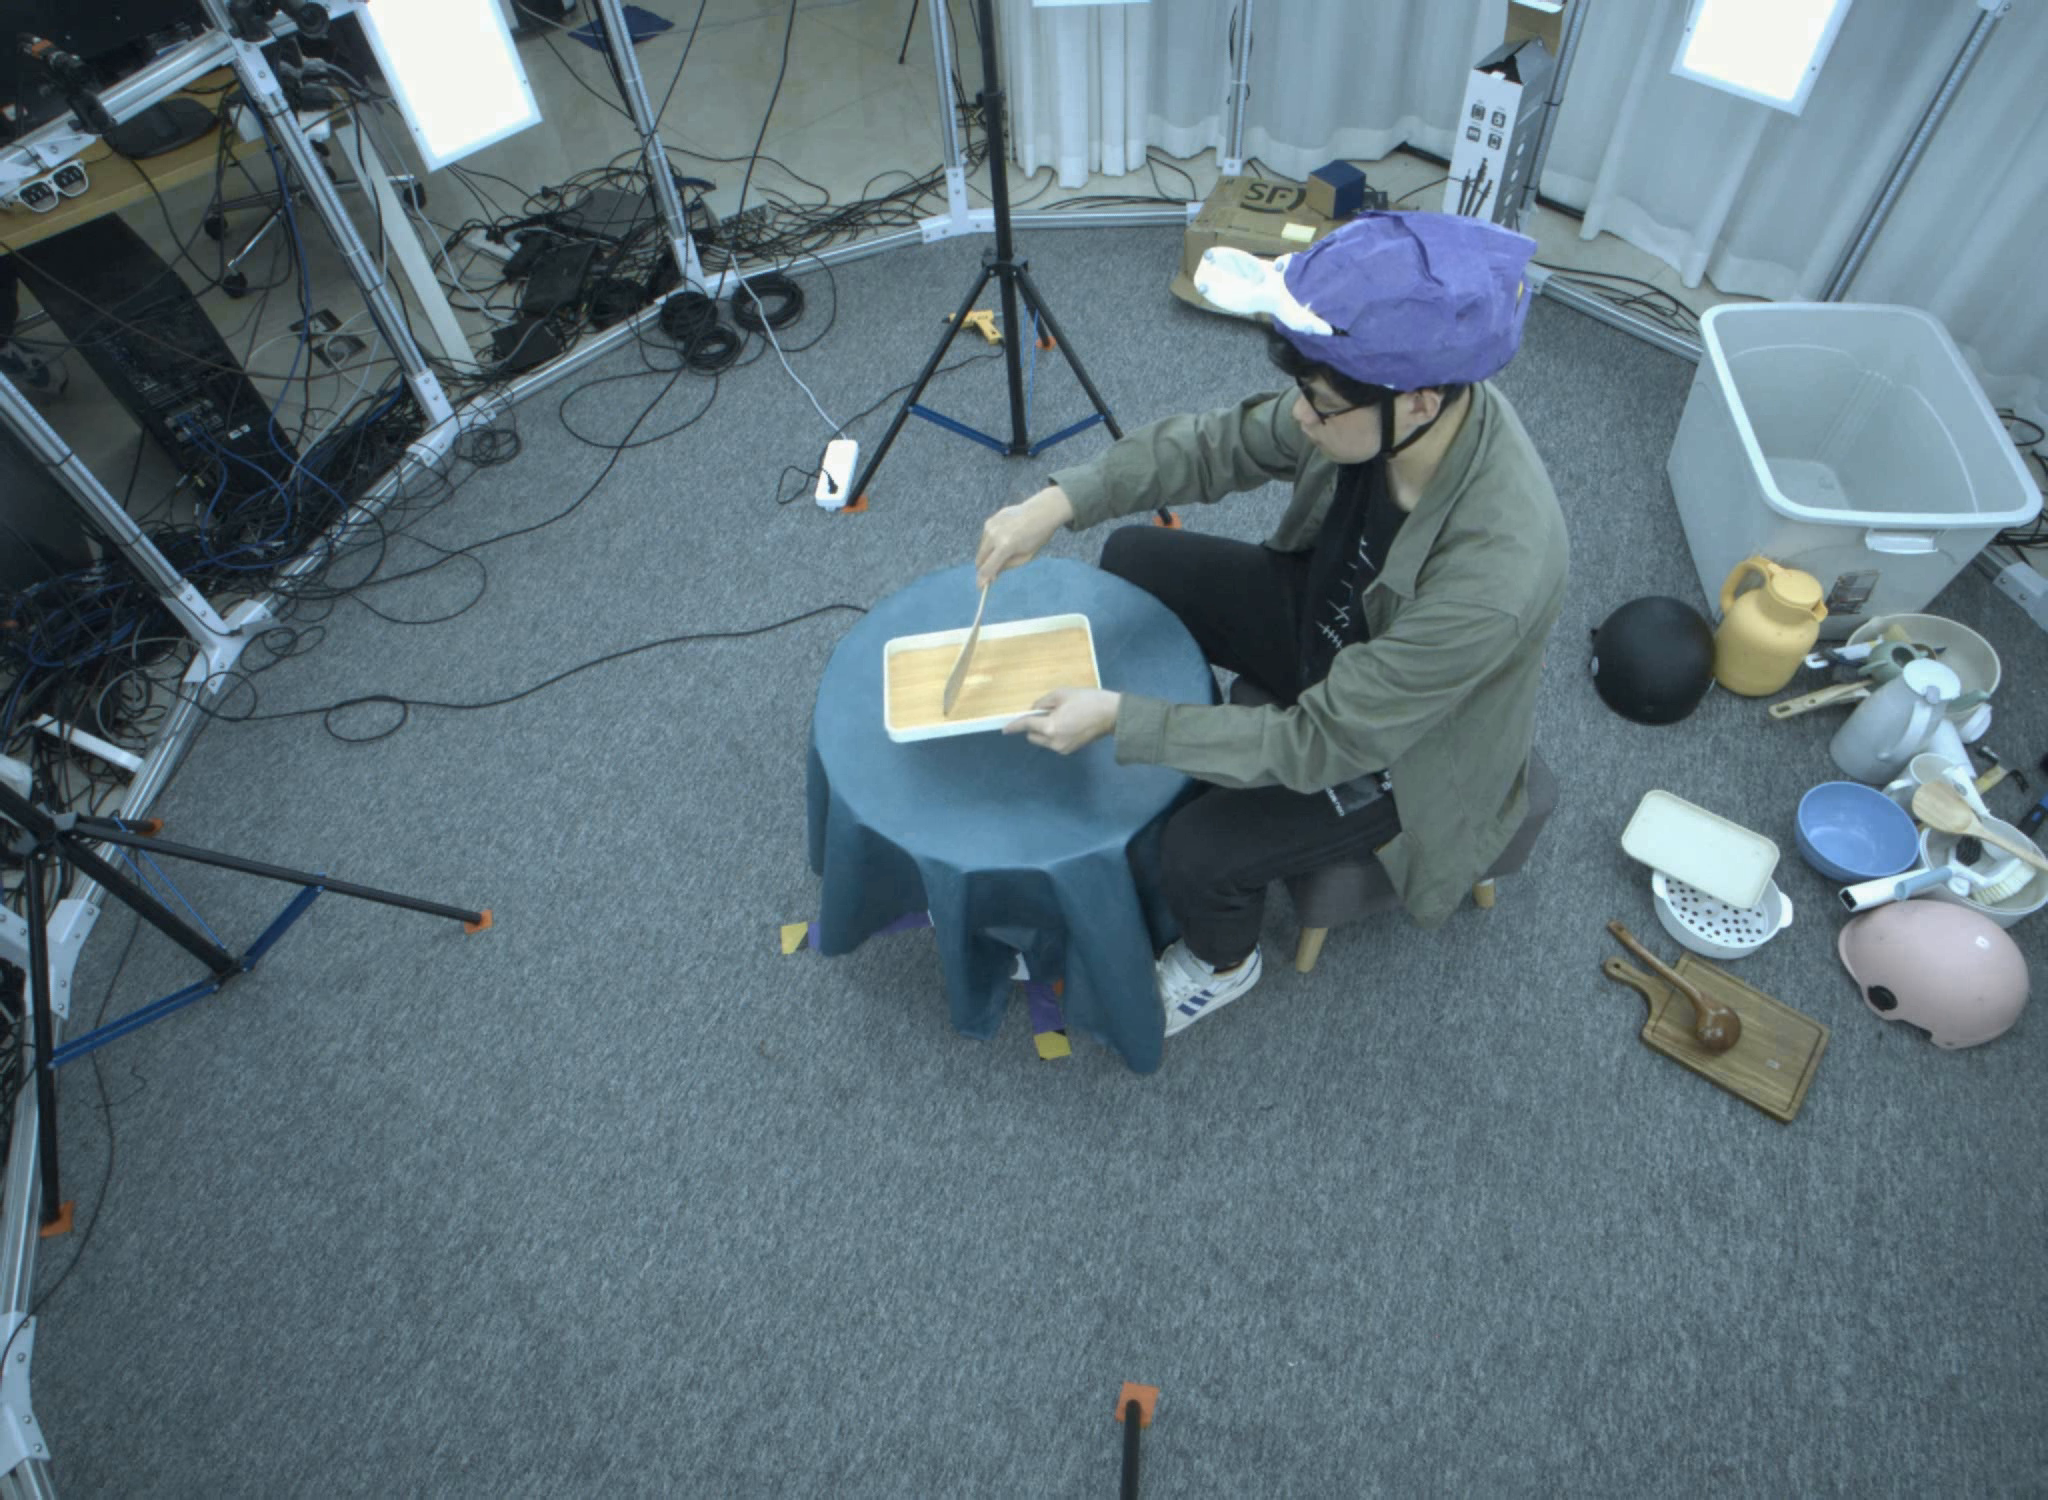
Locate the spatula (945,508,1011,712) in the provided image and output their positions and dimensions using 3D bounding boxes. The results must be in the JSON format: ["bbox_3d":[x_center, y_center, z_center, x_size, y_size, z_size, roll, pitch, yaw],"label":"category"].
[{"bbox_3d":[-0.063,-0.209,1.719,0.016,0.080,0.326,12,66,5],"label":"spatula"}]

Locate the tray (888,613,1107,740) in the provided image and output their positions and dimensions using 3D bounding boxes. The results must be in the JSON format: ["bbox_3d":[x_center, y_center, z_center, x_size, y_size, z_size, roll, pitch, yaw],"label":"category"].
[{"bbox_3d":[-0.041,-0.106,1.732,0.301,0.028,0.189,-6,49,-1],"label":"tray"}]
